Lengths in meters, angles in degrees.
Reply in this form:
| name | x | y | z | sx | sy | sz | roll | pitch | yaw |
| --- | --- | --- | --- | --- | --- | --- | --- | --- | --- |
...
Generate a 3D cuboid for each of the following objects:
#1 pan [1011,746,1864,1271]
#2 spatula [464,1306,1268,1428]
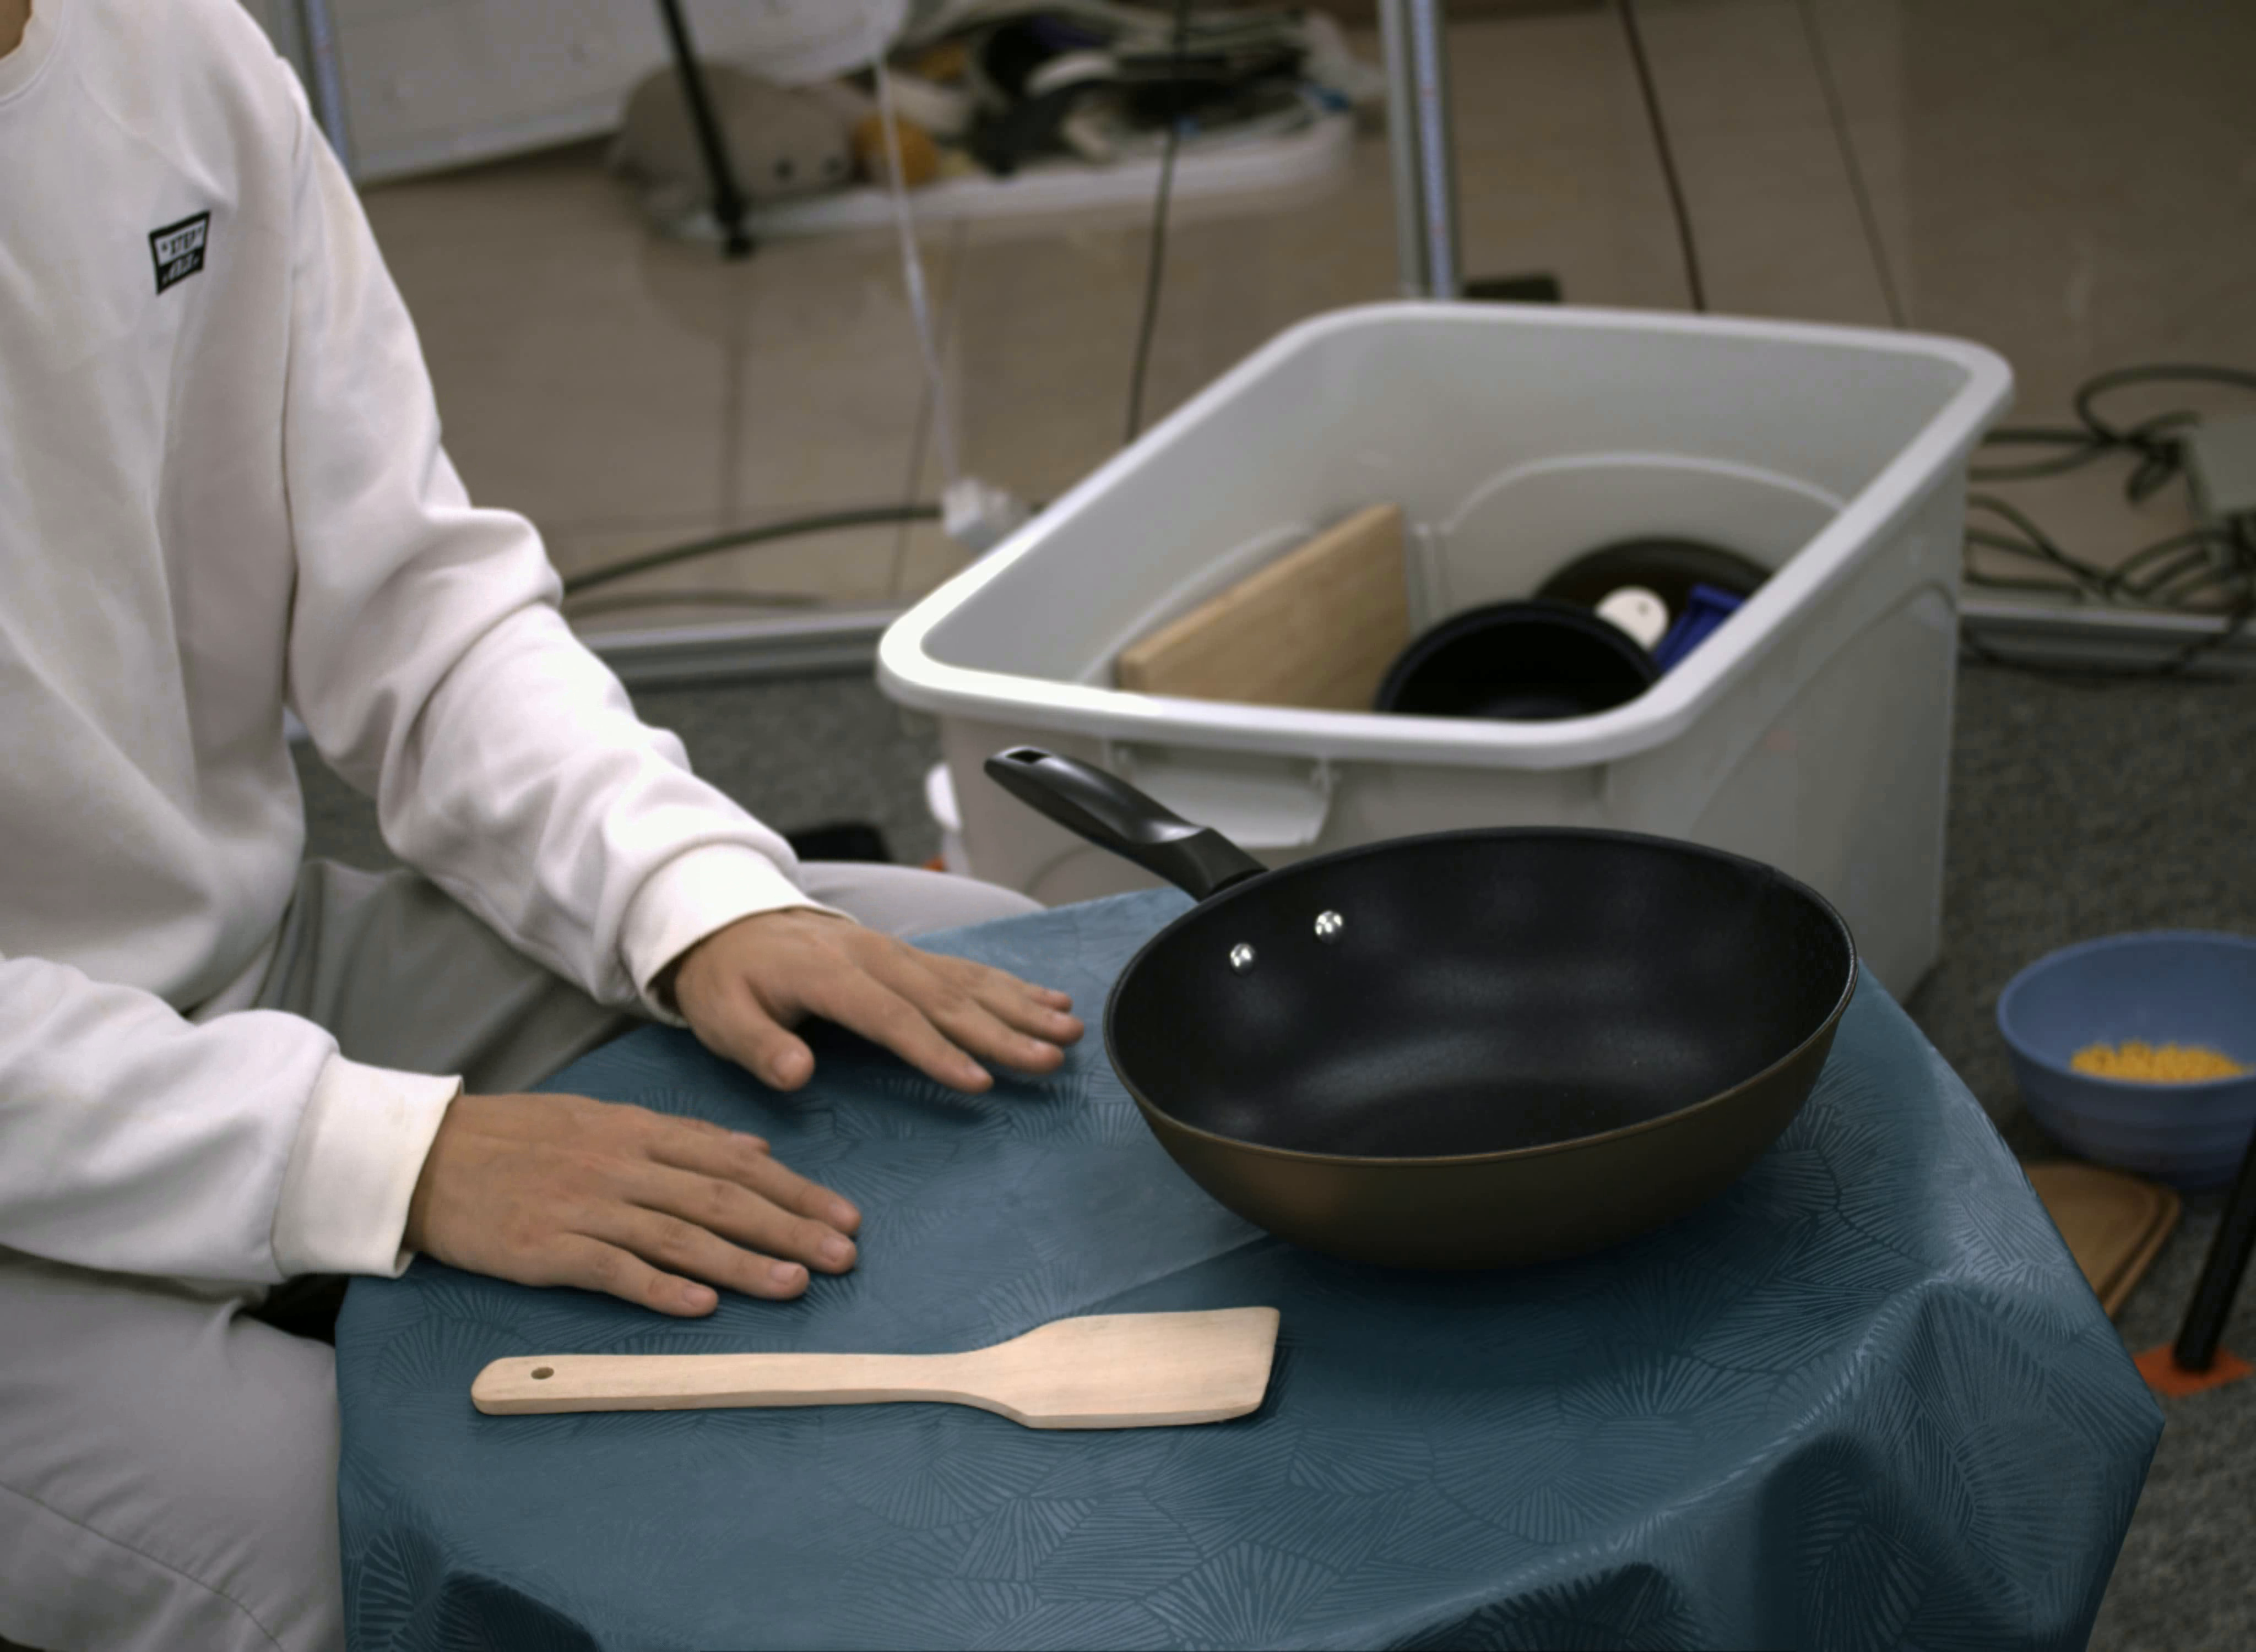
| name | x | y | z | sx | sy | sz | roll | pitch | yaw |
| --- | --- | --- | --- | --- | --- | --- | --- | --- | --- |
| pan | 0.083 | 0.067 | 2.181 | 0.286 | 0.088 | 0.459 | -20 | 27 | -29 |
| spatula | -0.096 | 0.197 | 2.034 | 0.292 | 0.011 | 0.071 | -2 | 26 | 9 |
